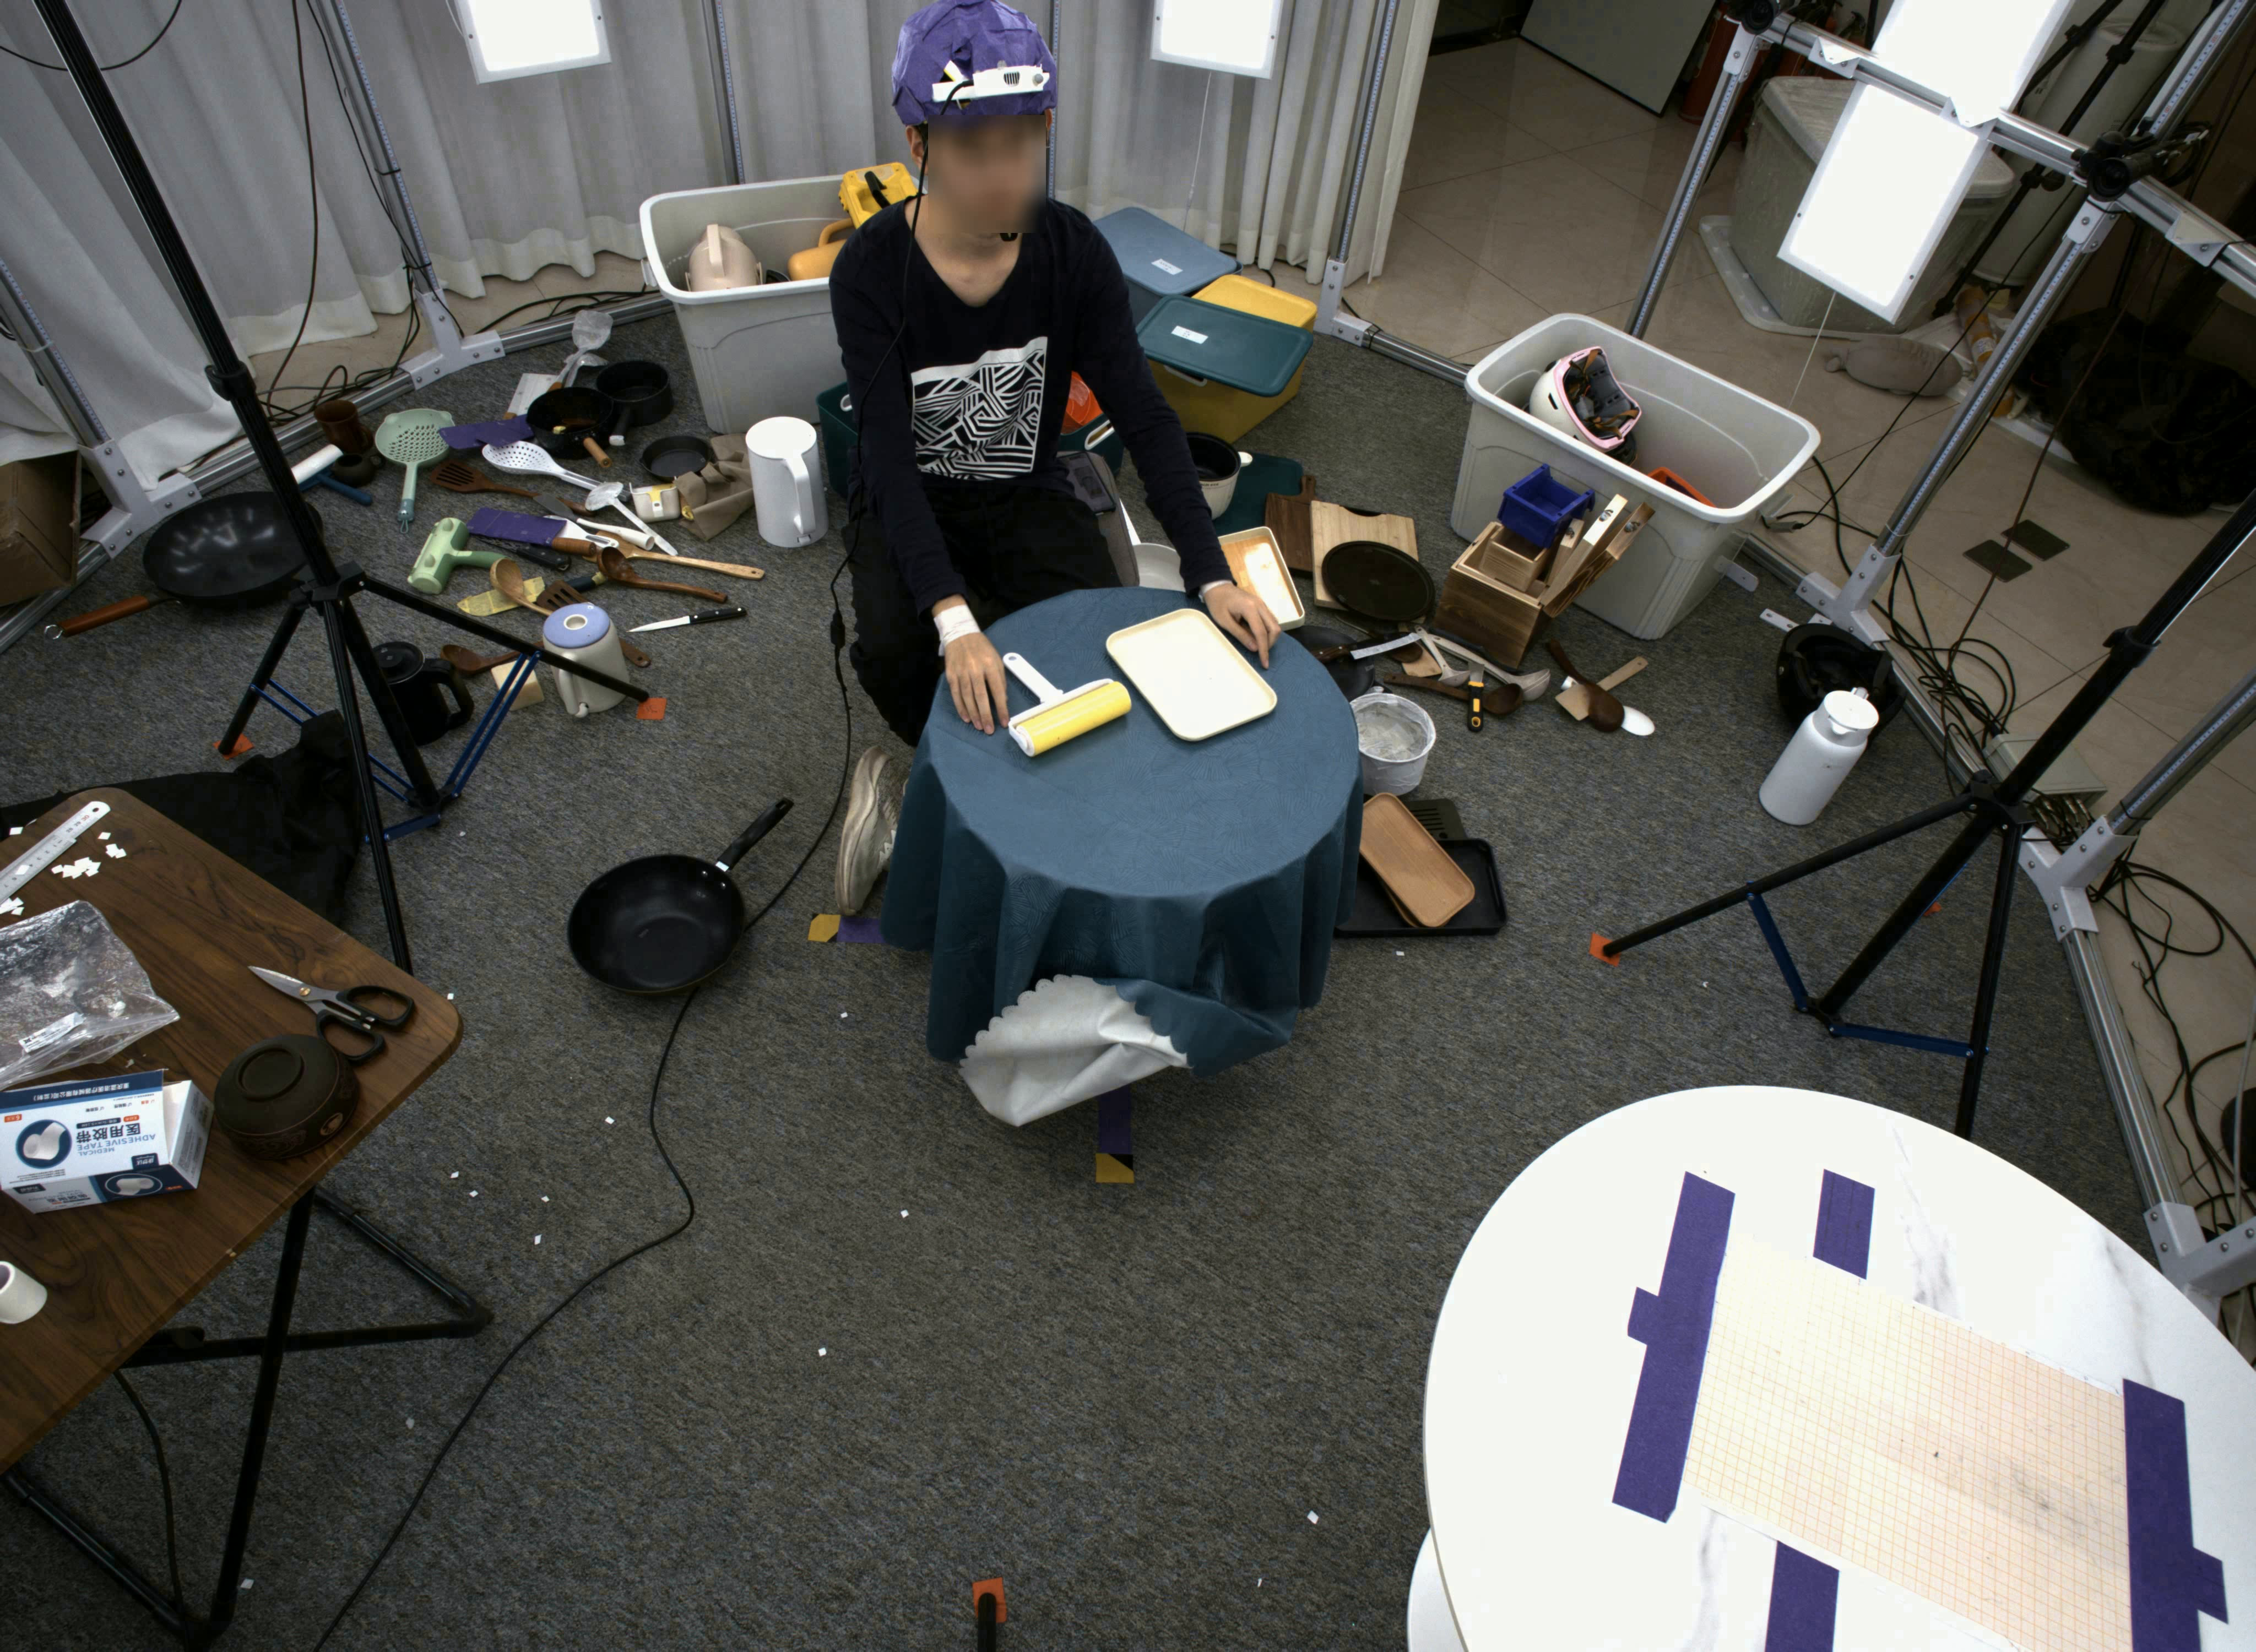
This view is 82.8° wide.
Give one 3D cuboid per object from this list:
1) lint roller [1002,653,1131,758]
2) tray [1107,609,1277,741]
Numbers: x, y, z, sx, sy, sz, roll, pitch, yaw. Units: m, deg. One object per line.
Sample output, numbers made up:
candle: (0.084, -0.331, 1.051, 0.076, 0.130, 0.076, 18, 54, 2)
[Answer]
lint roller: (-0.116, -0.193, 1.794, 0.175, 0.050, 0.195, -27, 60, -26)
tray: (0.090, -0.220, 1.853, 0.172, 0.017, 0.245, -21, 54, -22)
